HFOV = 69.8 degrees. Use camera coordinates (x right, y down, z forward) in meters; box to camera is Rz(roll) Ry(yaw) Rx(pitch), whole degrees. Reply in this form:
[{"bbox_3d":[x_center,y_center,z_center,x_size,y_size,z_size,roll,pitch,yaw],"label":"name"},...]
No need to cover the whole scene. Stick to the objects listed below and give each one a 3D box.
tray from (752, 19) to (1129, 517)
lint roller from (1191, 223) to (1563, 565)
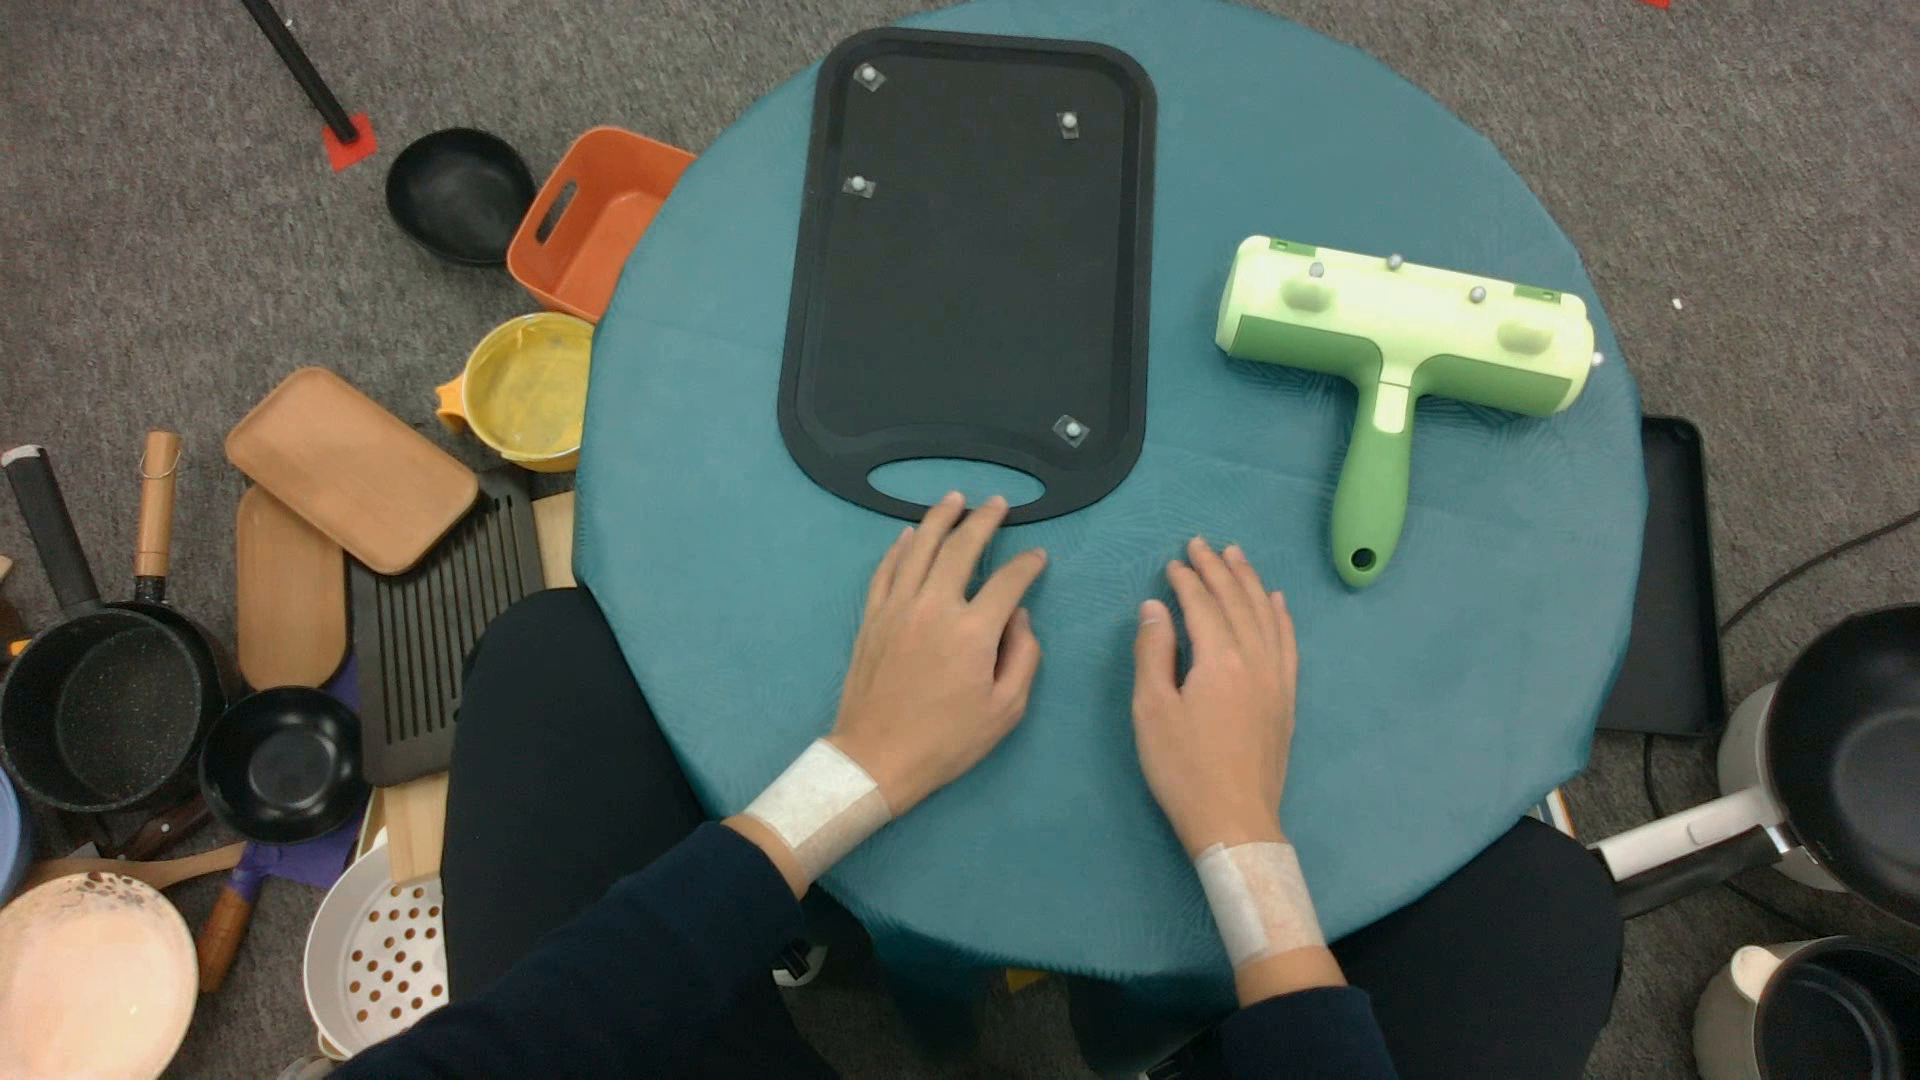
[{"bbox_3d":[-0.007,-0.168,0.805,0.211,0.010,0.326,3,72,0],"label":"tray"},{"bbox_3d":[0.222,-0.082,0.741,0.198,0.082,0.184,10,65,3],"label":"lint roller"}]
